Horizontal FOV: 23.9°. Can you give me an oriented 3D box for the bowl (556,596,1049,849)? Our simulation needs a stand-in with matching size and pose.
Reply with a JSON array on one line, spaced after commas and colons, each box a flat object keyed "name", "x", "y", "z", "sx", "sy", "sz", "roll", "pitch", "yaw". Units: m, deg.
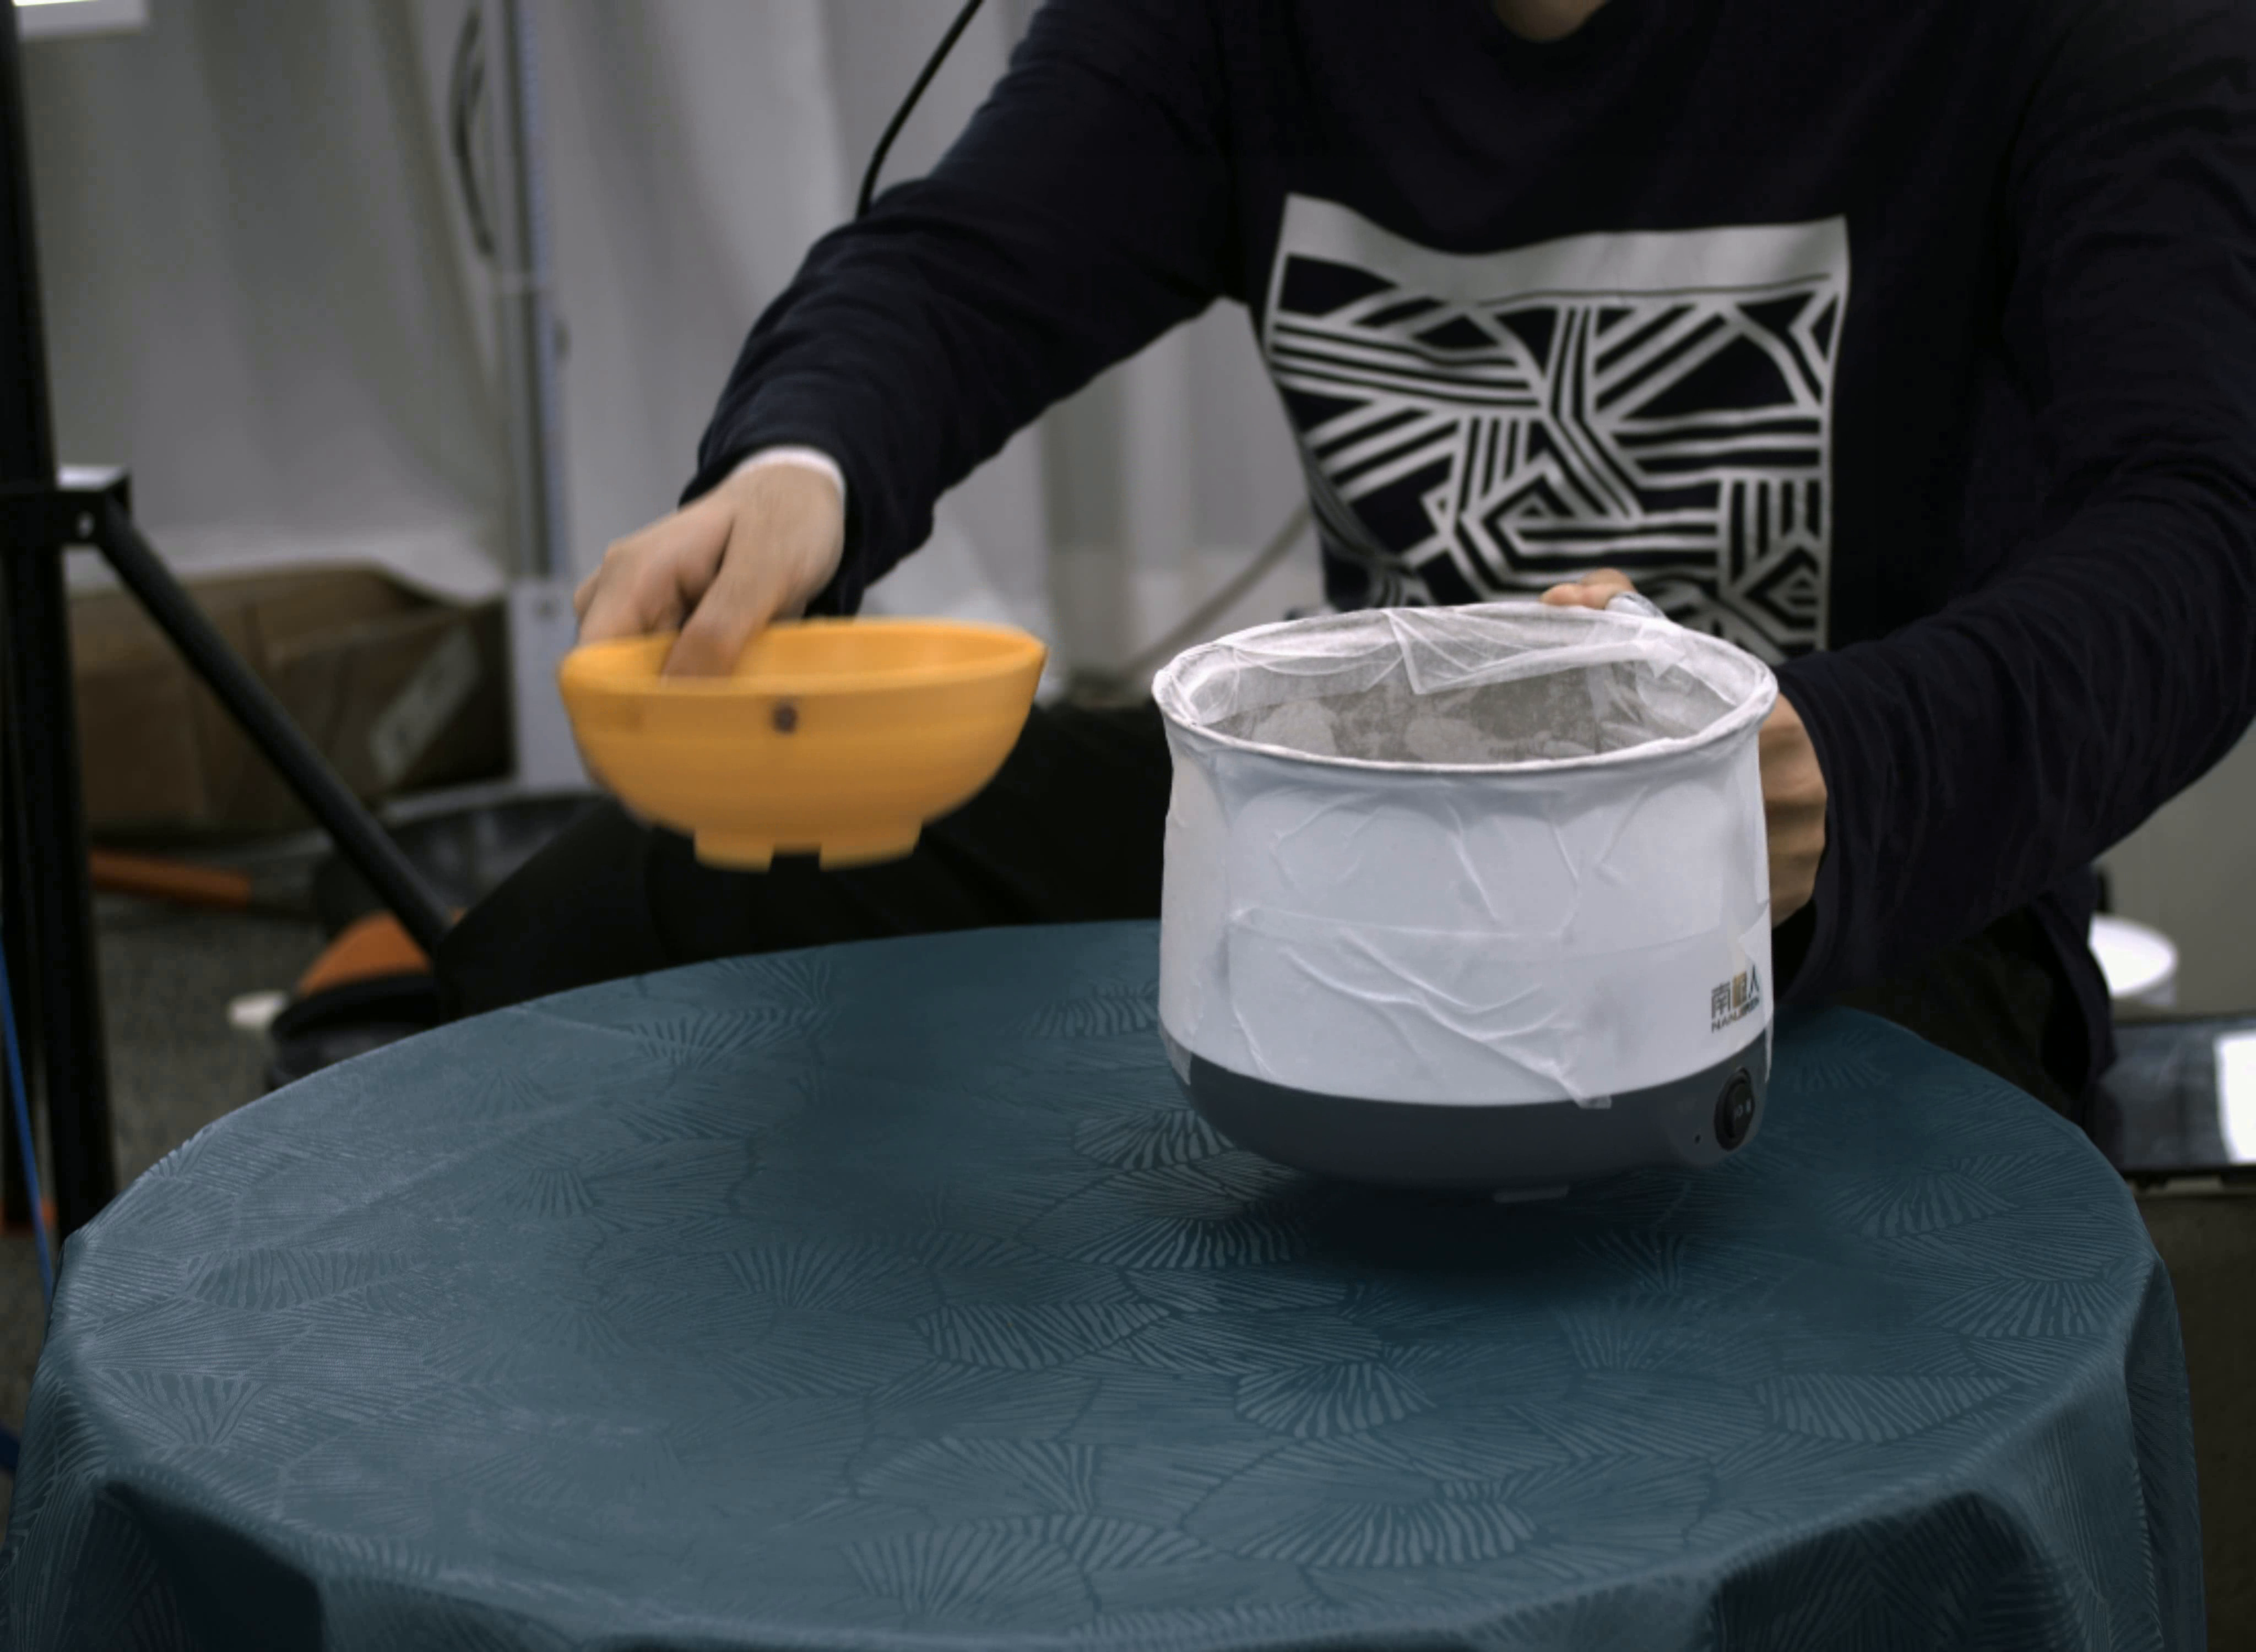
[{"name": "bowl", "x": -0.094, "y": -0.028, "z": 1.561, "sx": 0.144, "sy": 0.060, "sz": 0.146, "roll": -2, "pitch": 10, "yaw": -1}]

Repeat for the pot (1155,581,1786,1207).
[{"name": "pot", "x": 0.111, "y": 0.012, "z": 1.538, "sx": 0.182, "sy": 0.136, "sz": 0.229, "roll": 11, "pitch": 21, "yaw": 30}]
